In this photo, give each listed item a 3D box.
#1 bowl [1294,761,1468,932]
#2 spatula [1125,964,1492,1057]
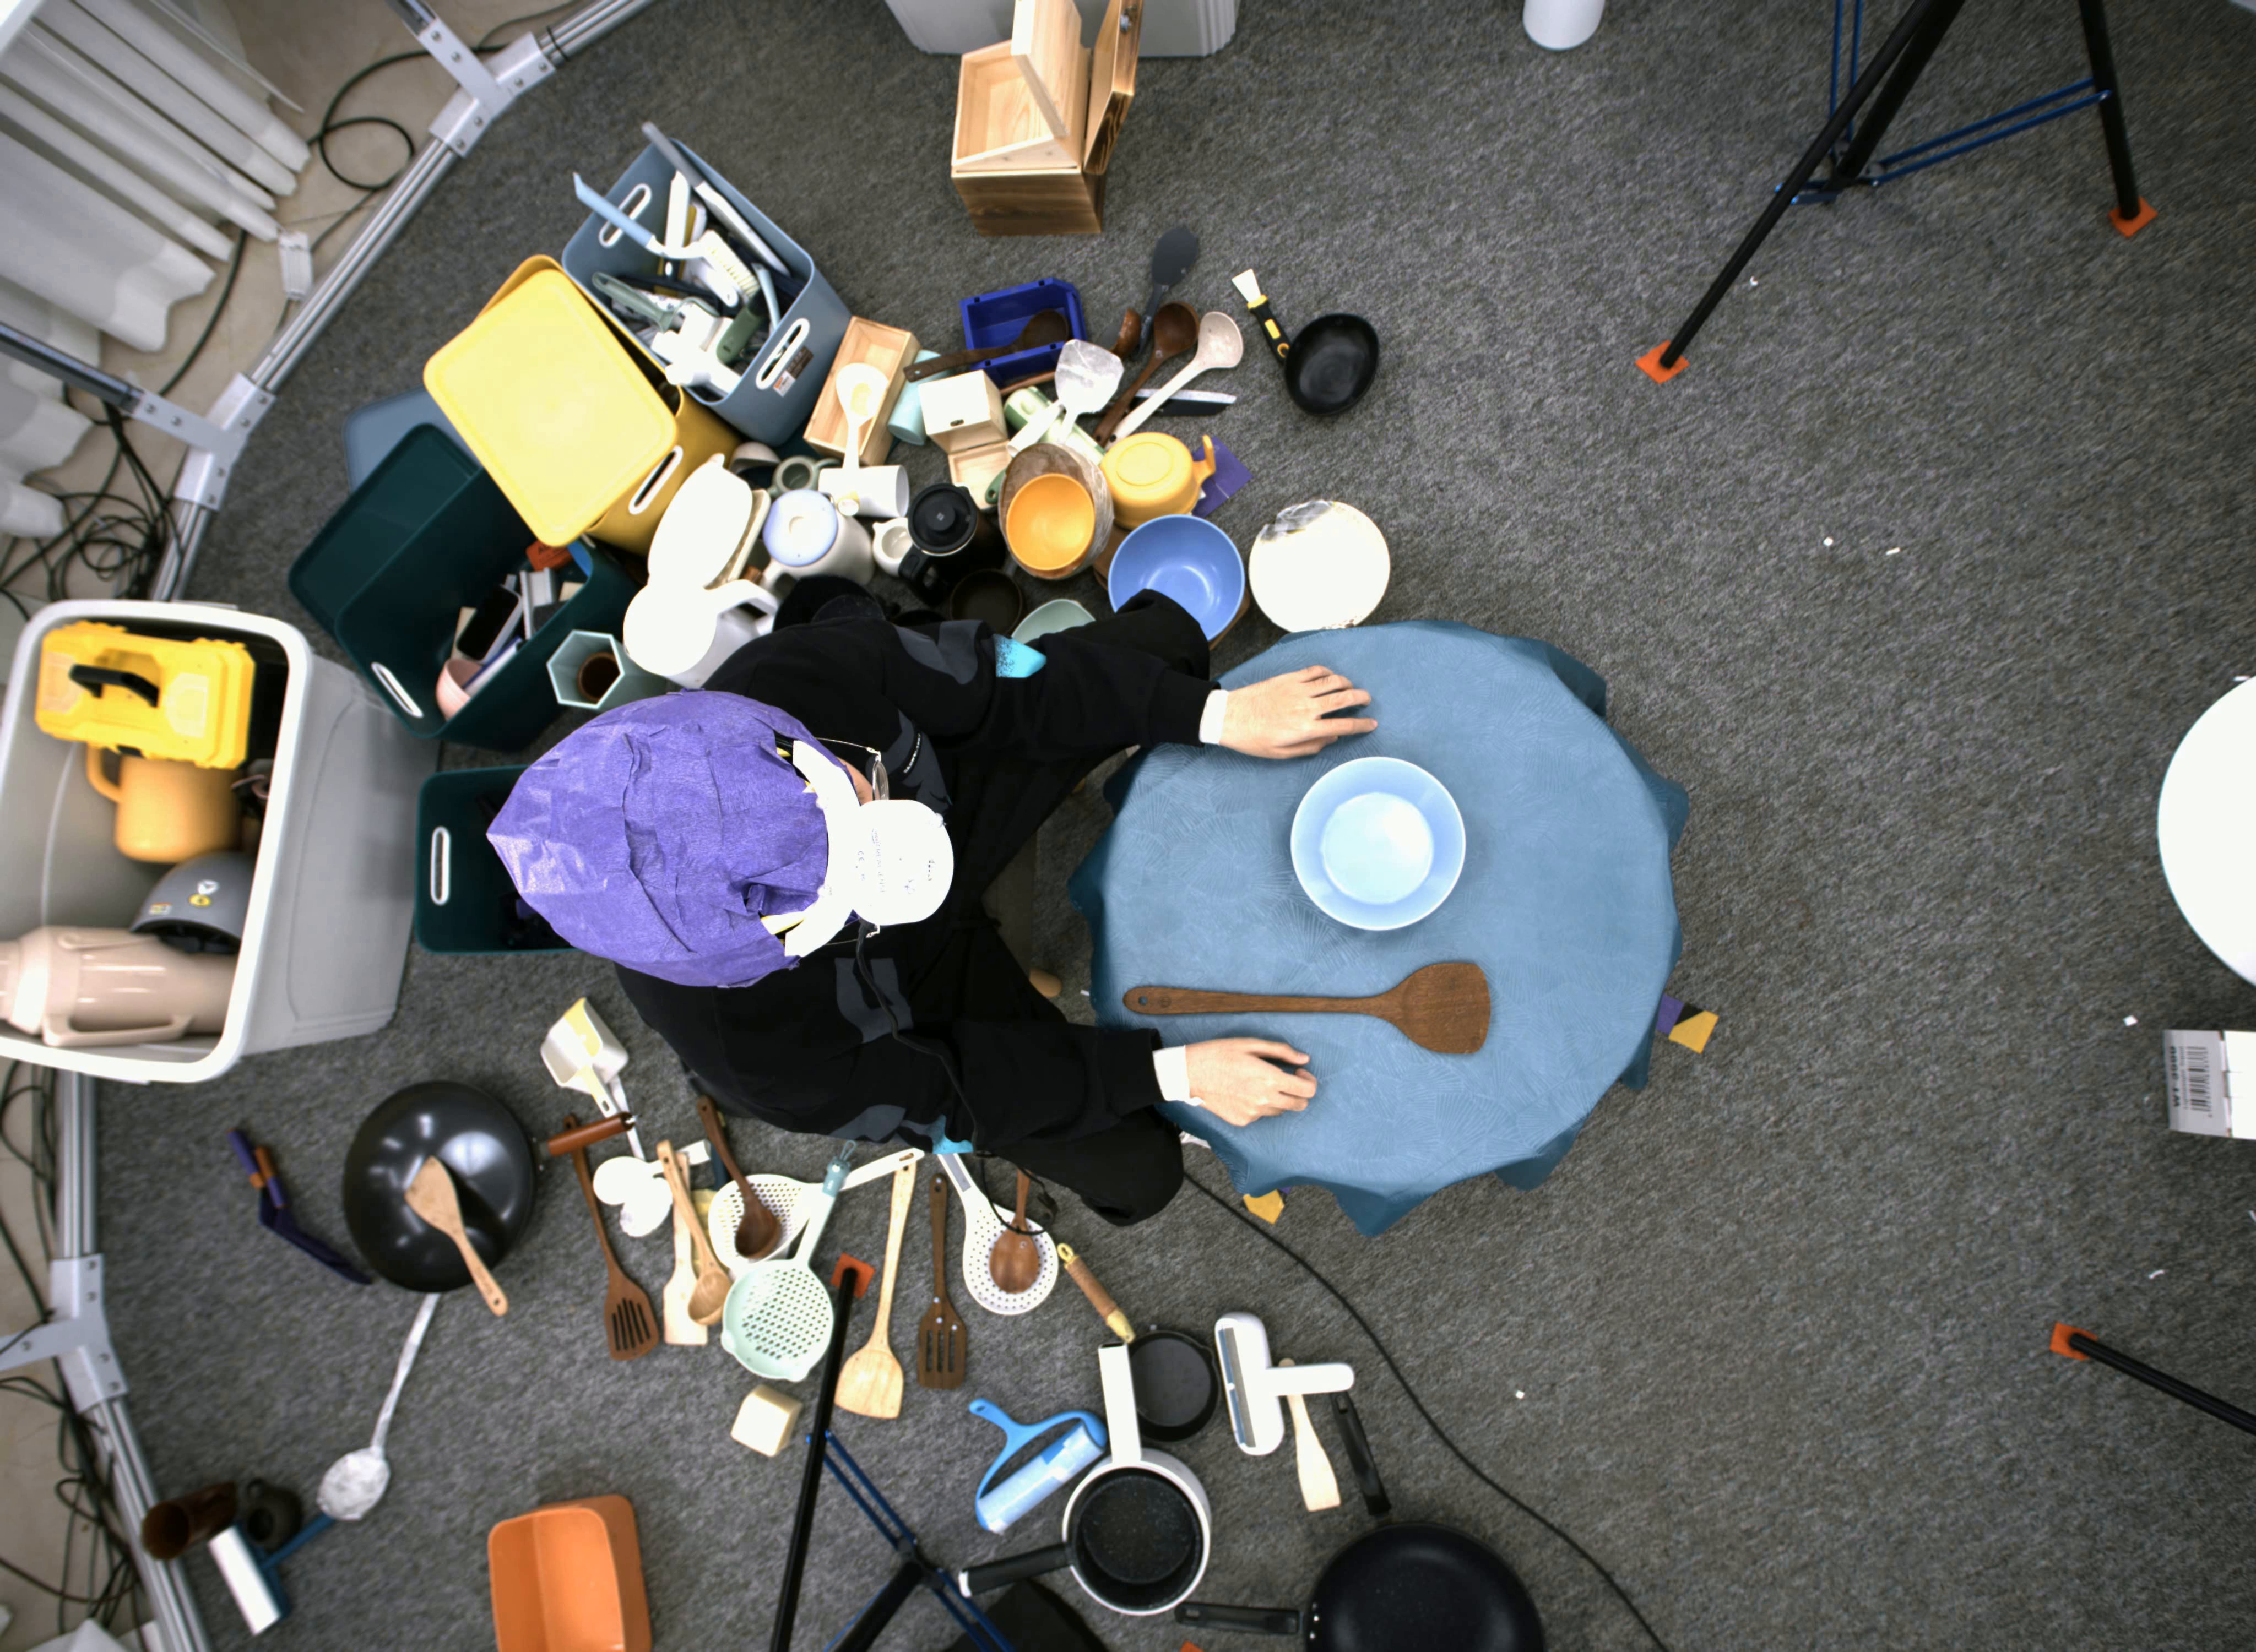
[{"bbox_3d":[0.263,0.023,1.434,0.177,0.070,0.175,-1,85,12],"label":"bowl"},{"bbox_3d":[0.187,0.191,1.465,0.387,0.016,0.095,0,86,11],"label":"spatula"}]
